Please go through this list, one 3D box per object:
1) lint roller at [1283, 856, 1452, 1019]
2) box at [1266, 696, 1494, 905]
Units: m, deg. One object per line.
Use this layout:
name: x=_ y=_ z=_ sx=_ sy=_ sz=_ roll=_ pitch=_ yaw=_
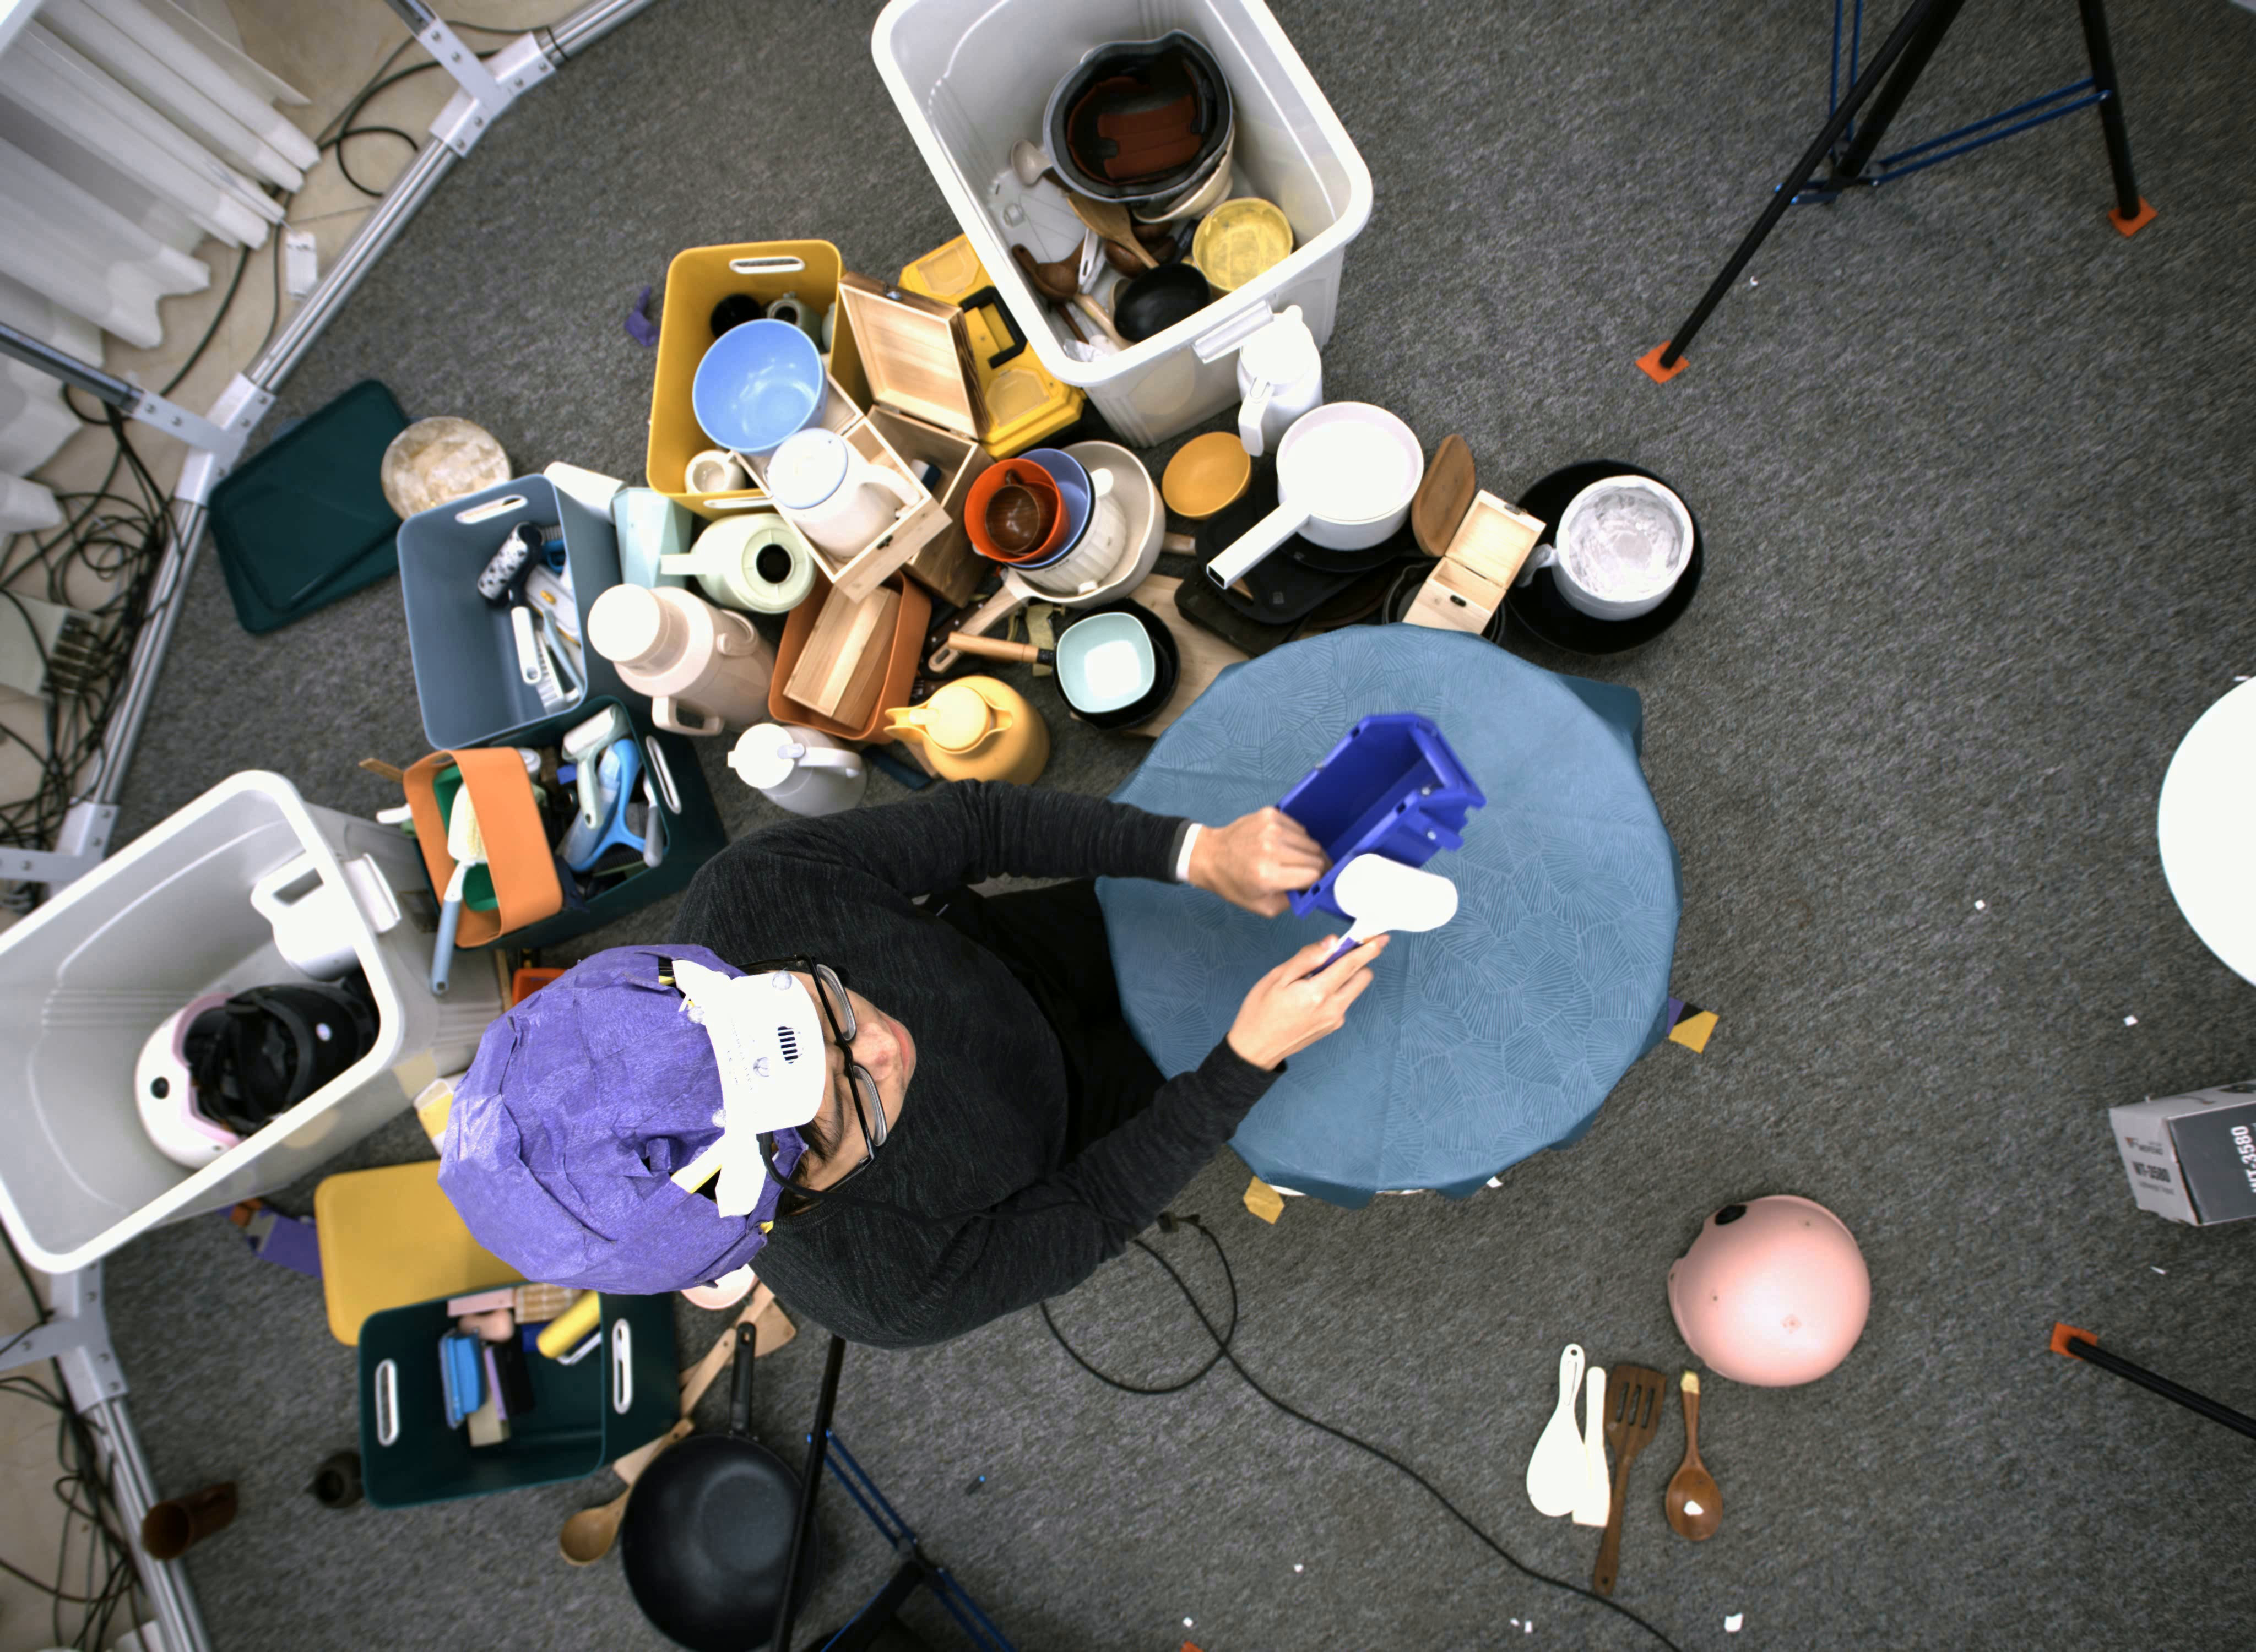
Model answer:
lint roller: x=0.197 y=0.109 z=1.214 sx=0.183 sy=0.133 sz=0.049 roll=-58 pitch=44 yaw=19
box: x=0.223 y=-0.022 z=1.222 sx=0.183 sy=0.082 sz=0.121 roll=-49 pitch=37 yaw=28
